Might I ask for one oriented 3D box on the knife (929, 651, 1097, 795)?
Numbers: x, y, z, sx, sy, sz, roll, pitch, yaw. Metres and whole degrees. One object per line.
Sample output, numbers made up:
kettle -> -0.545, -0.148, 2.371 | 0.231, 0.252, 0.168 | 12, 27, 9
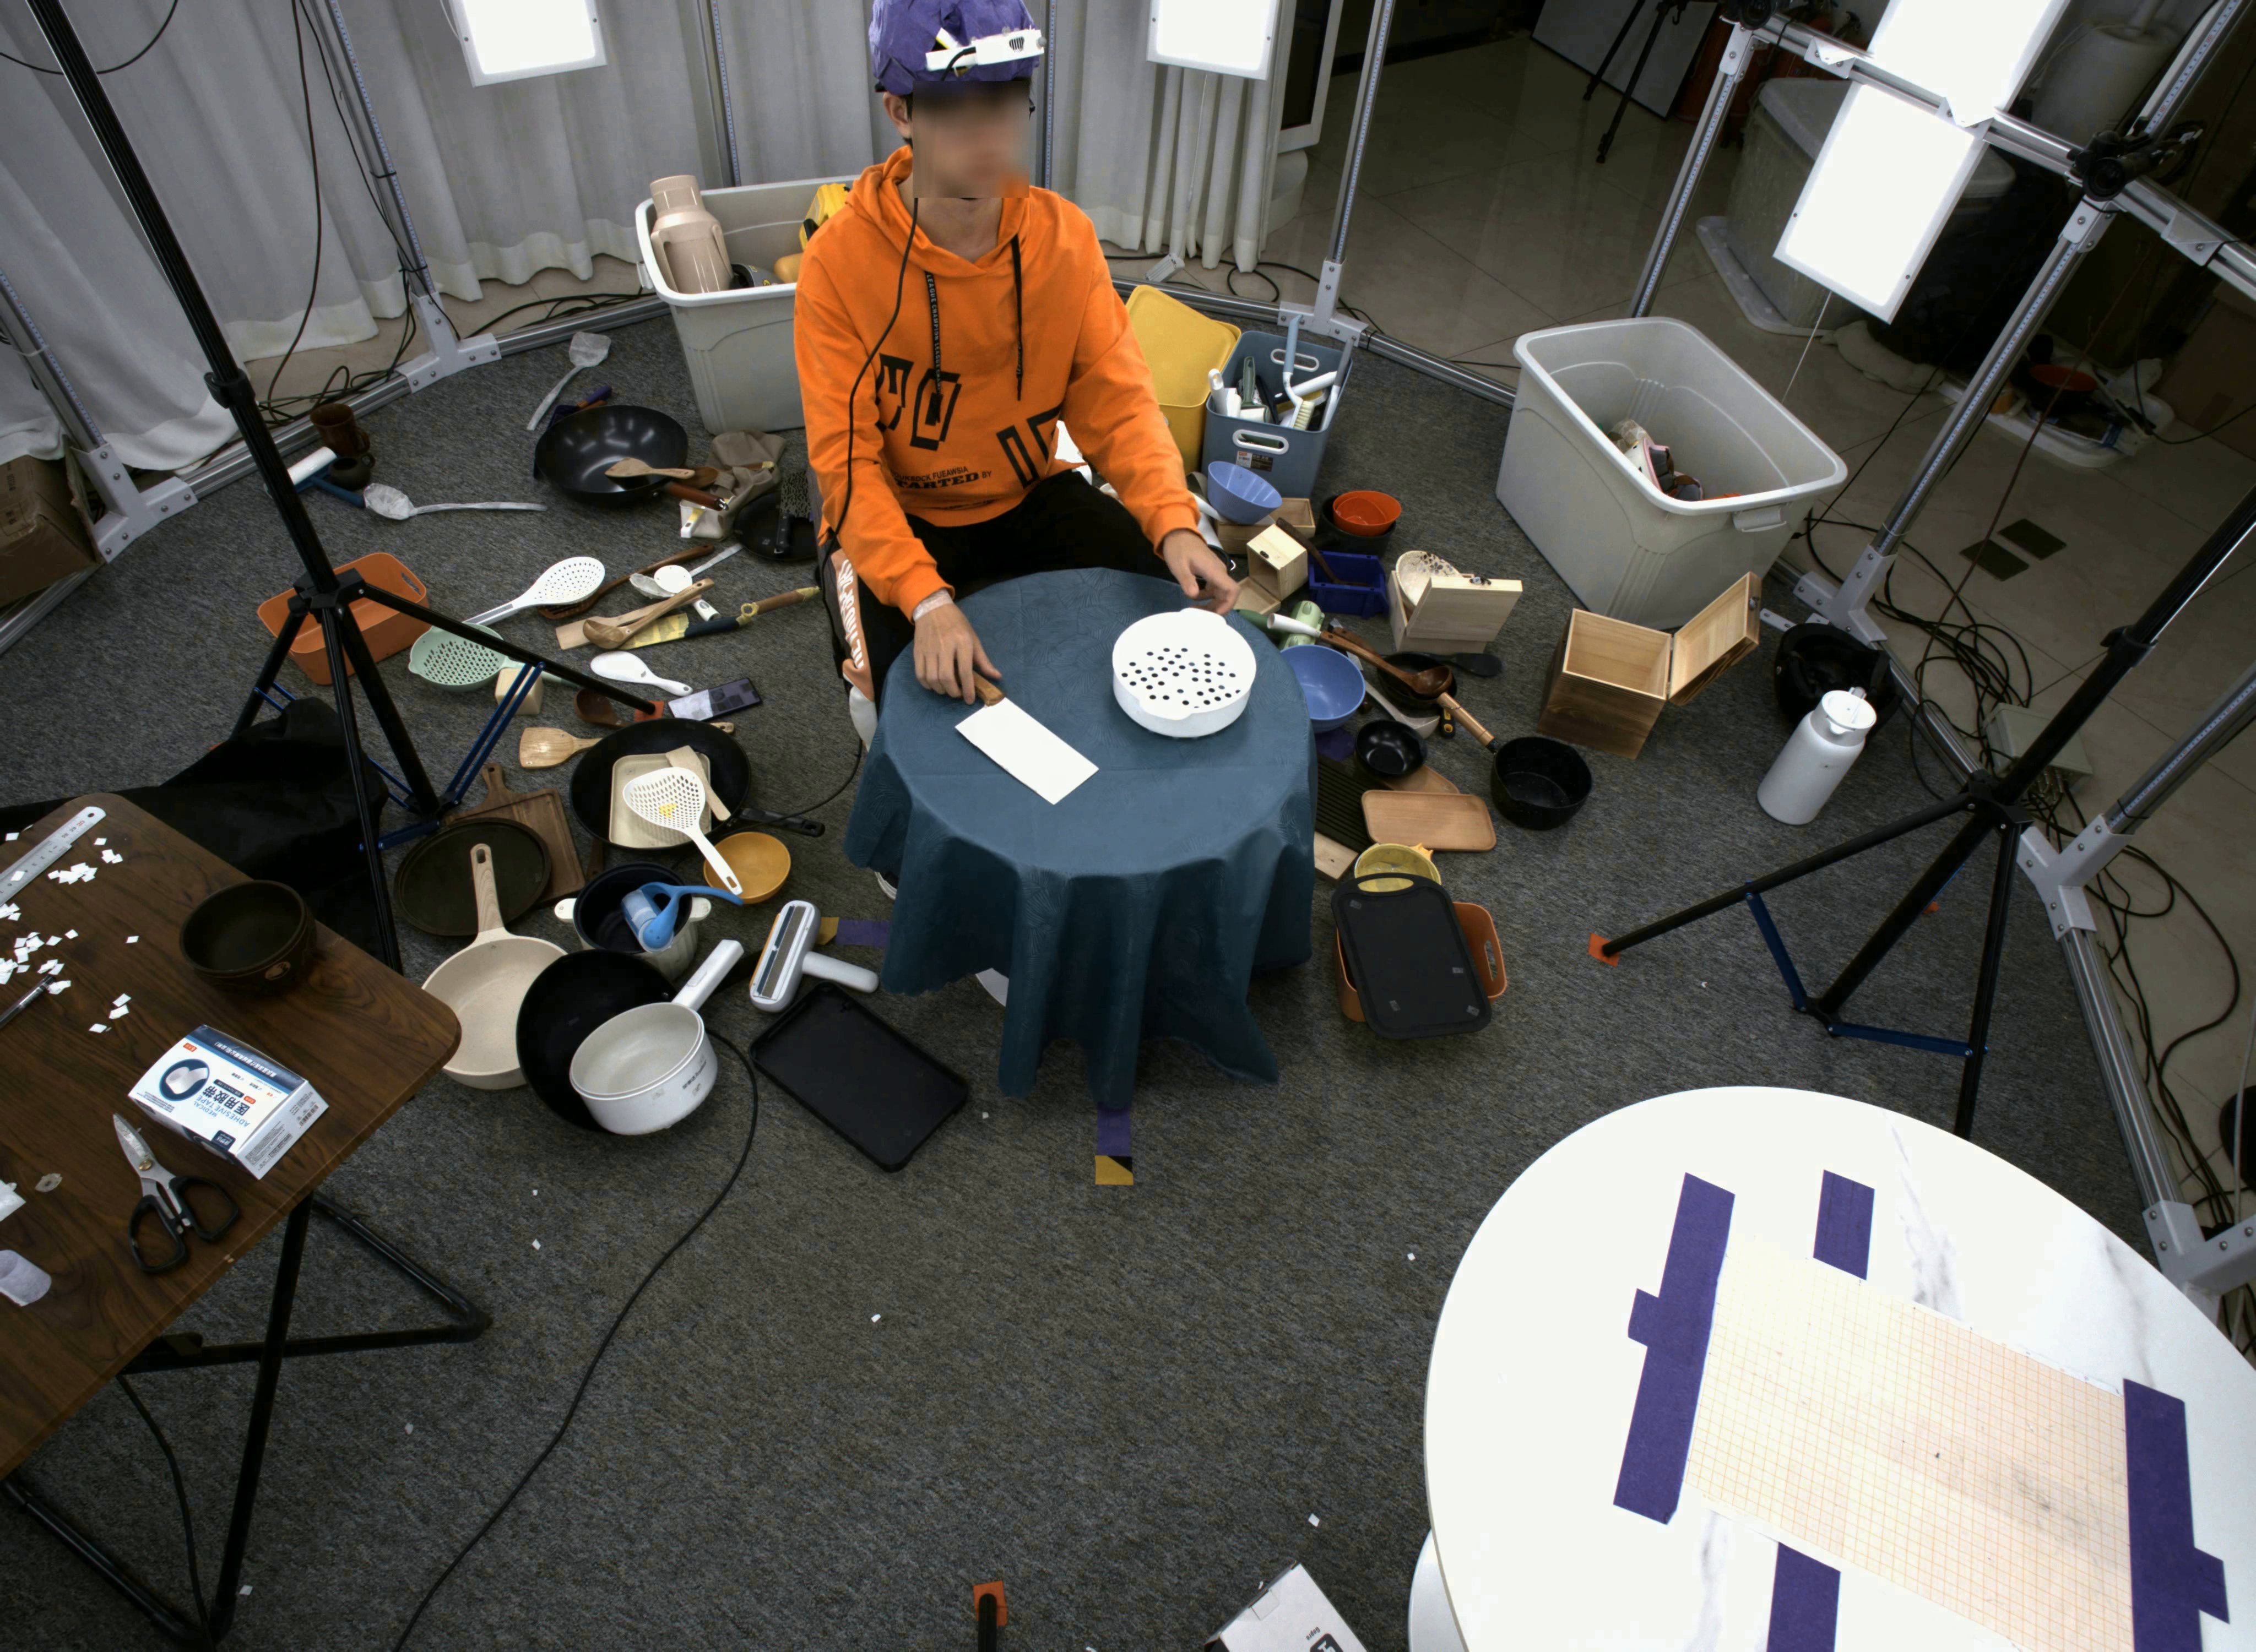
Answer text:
knife -> -0.179, -0.140, 1.768 | 0.310, 0.020, 0.094 | 38, 58, 23

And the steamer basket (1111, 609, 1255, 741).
steamer basket -> 0.076, -0.209, 1.811 | 0.202, 0.067, 0.235 | 15, 51, 10
